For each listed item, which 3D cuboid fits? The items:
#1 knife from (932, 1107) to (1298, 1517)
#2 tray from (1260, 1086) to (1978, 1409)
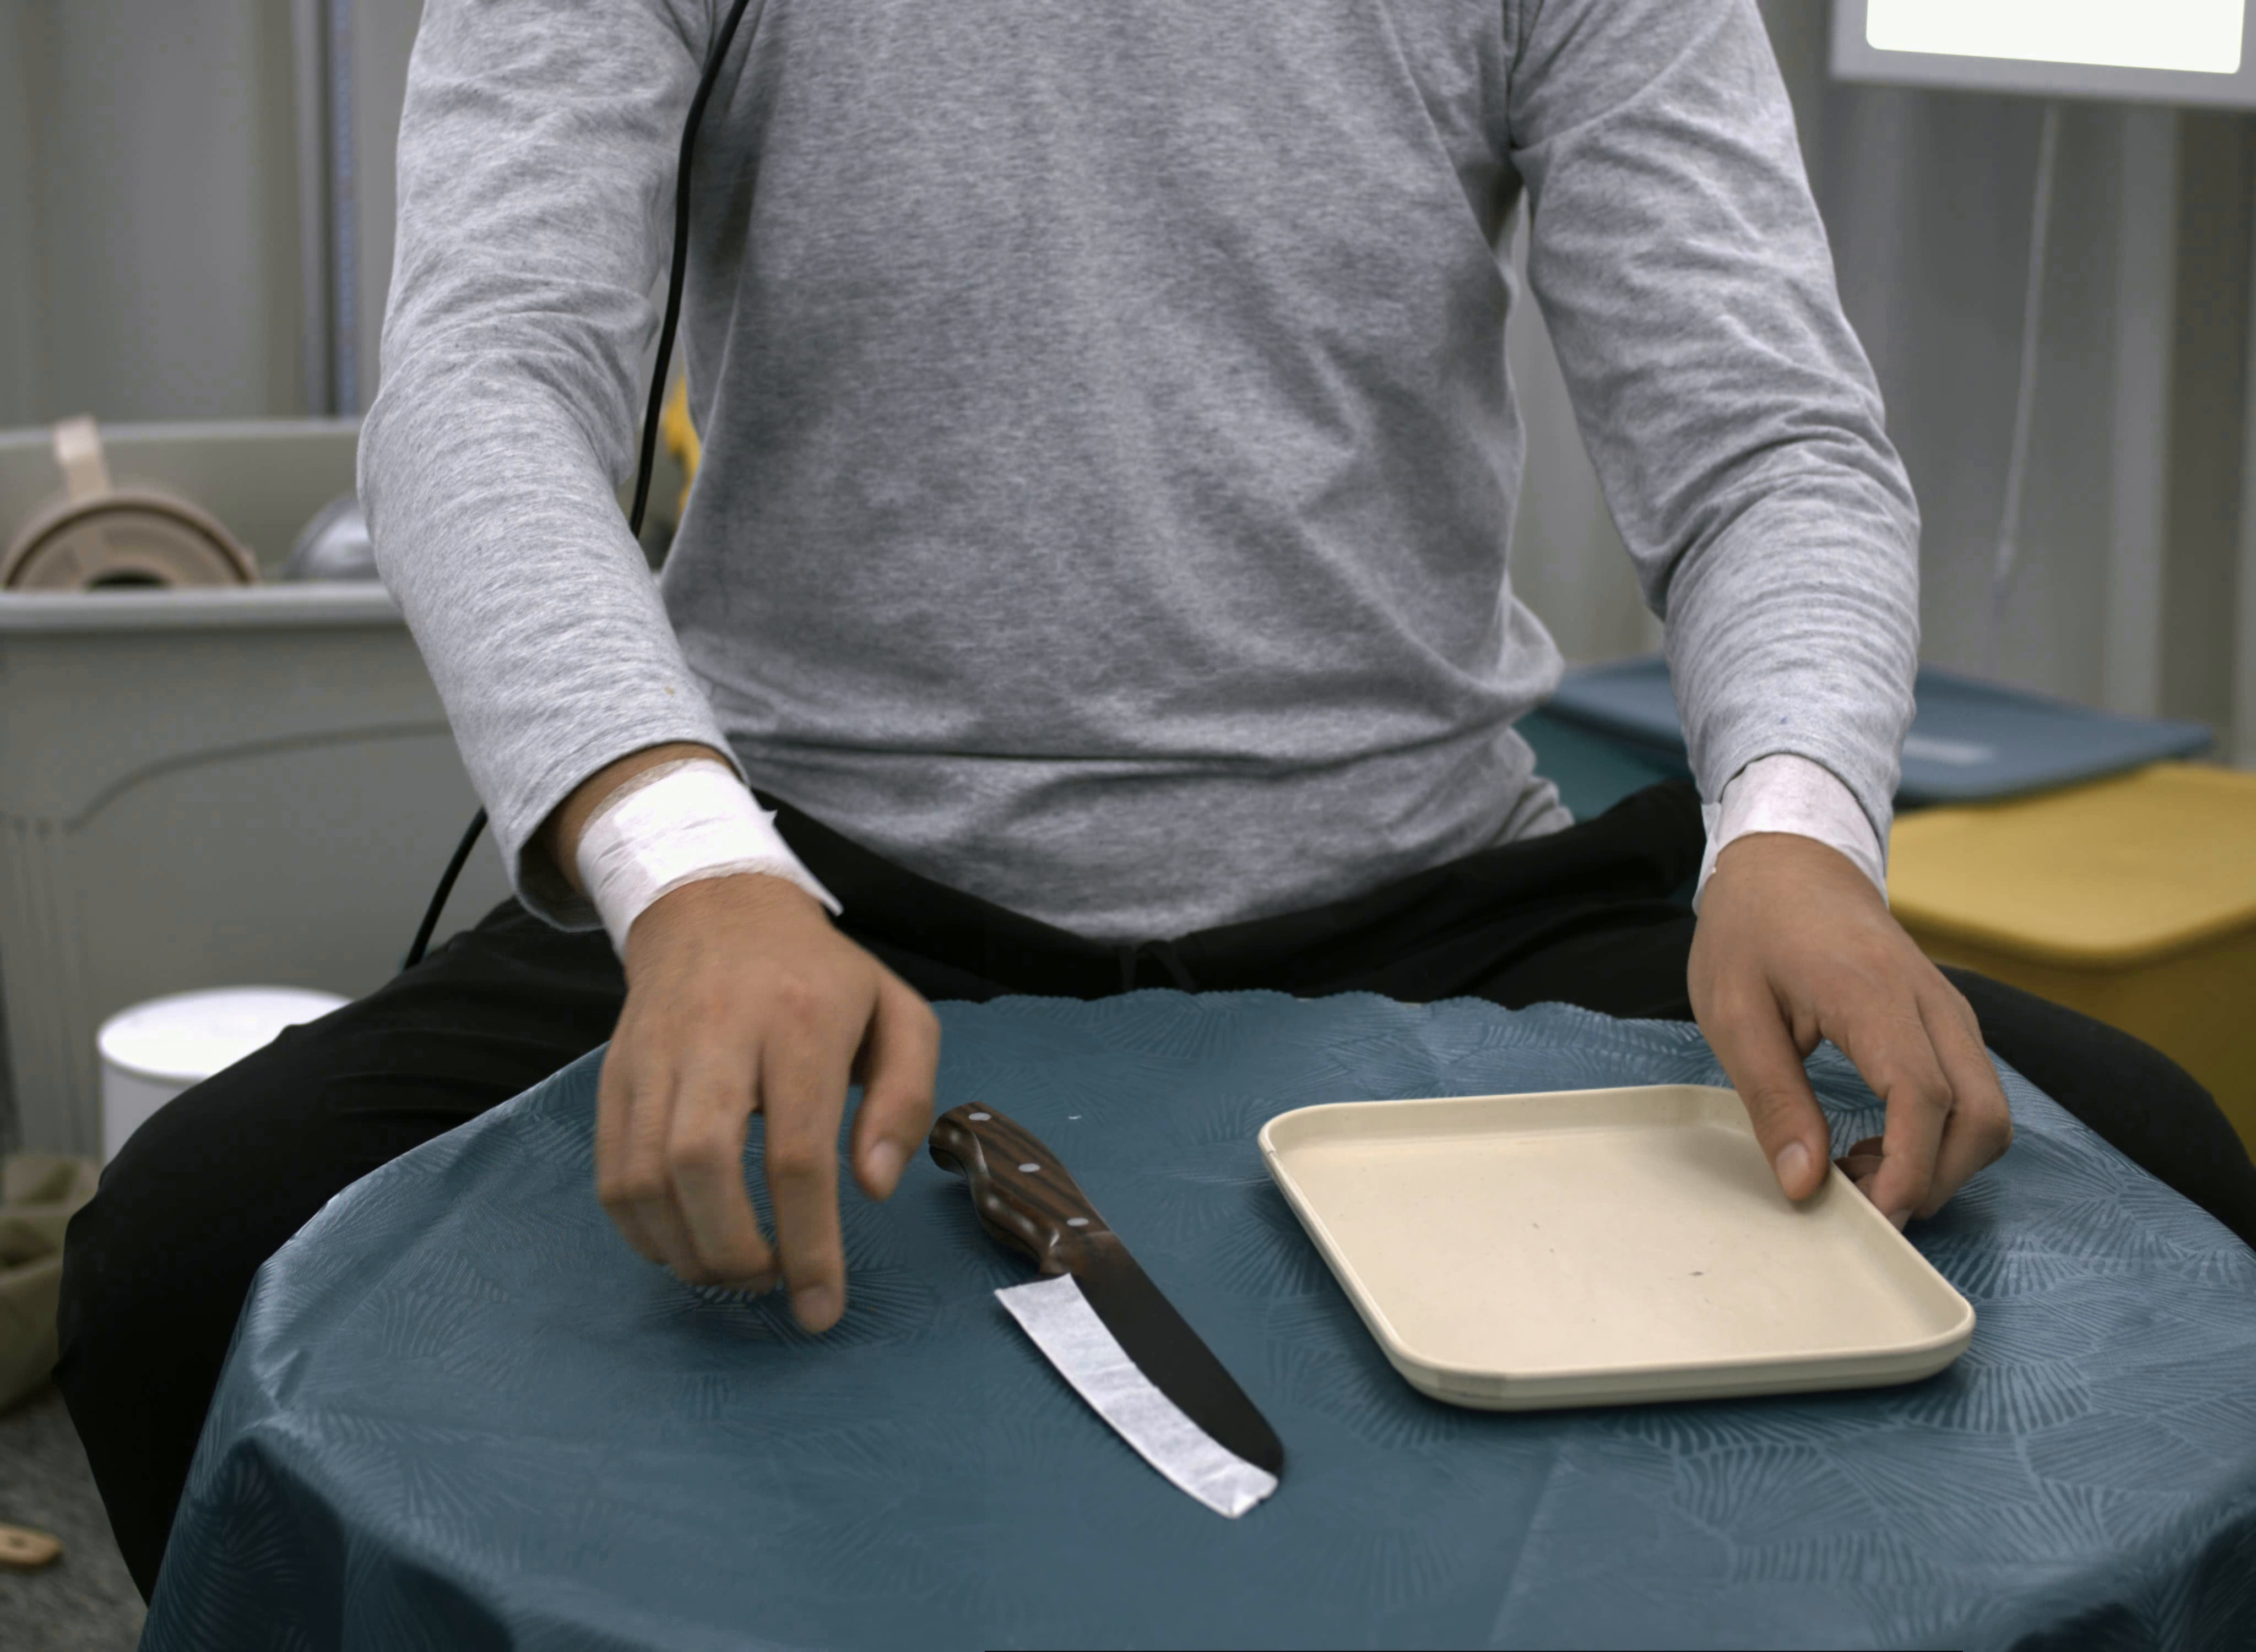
[{"bbox_3d":[-0.009,0.138,1.506,0.050,0.020,0.286,-9,20,-14],"label":"knife"},{"bbox_3d":[0.140,0.123,1.559,0.171,0.017,0.237,-2,15,-10],"label":"tray"}]
